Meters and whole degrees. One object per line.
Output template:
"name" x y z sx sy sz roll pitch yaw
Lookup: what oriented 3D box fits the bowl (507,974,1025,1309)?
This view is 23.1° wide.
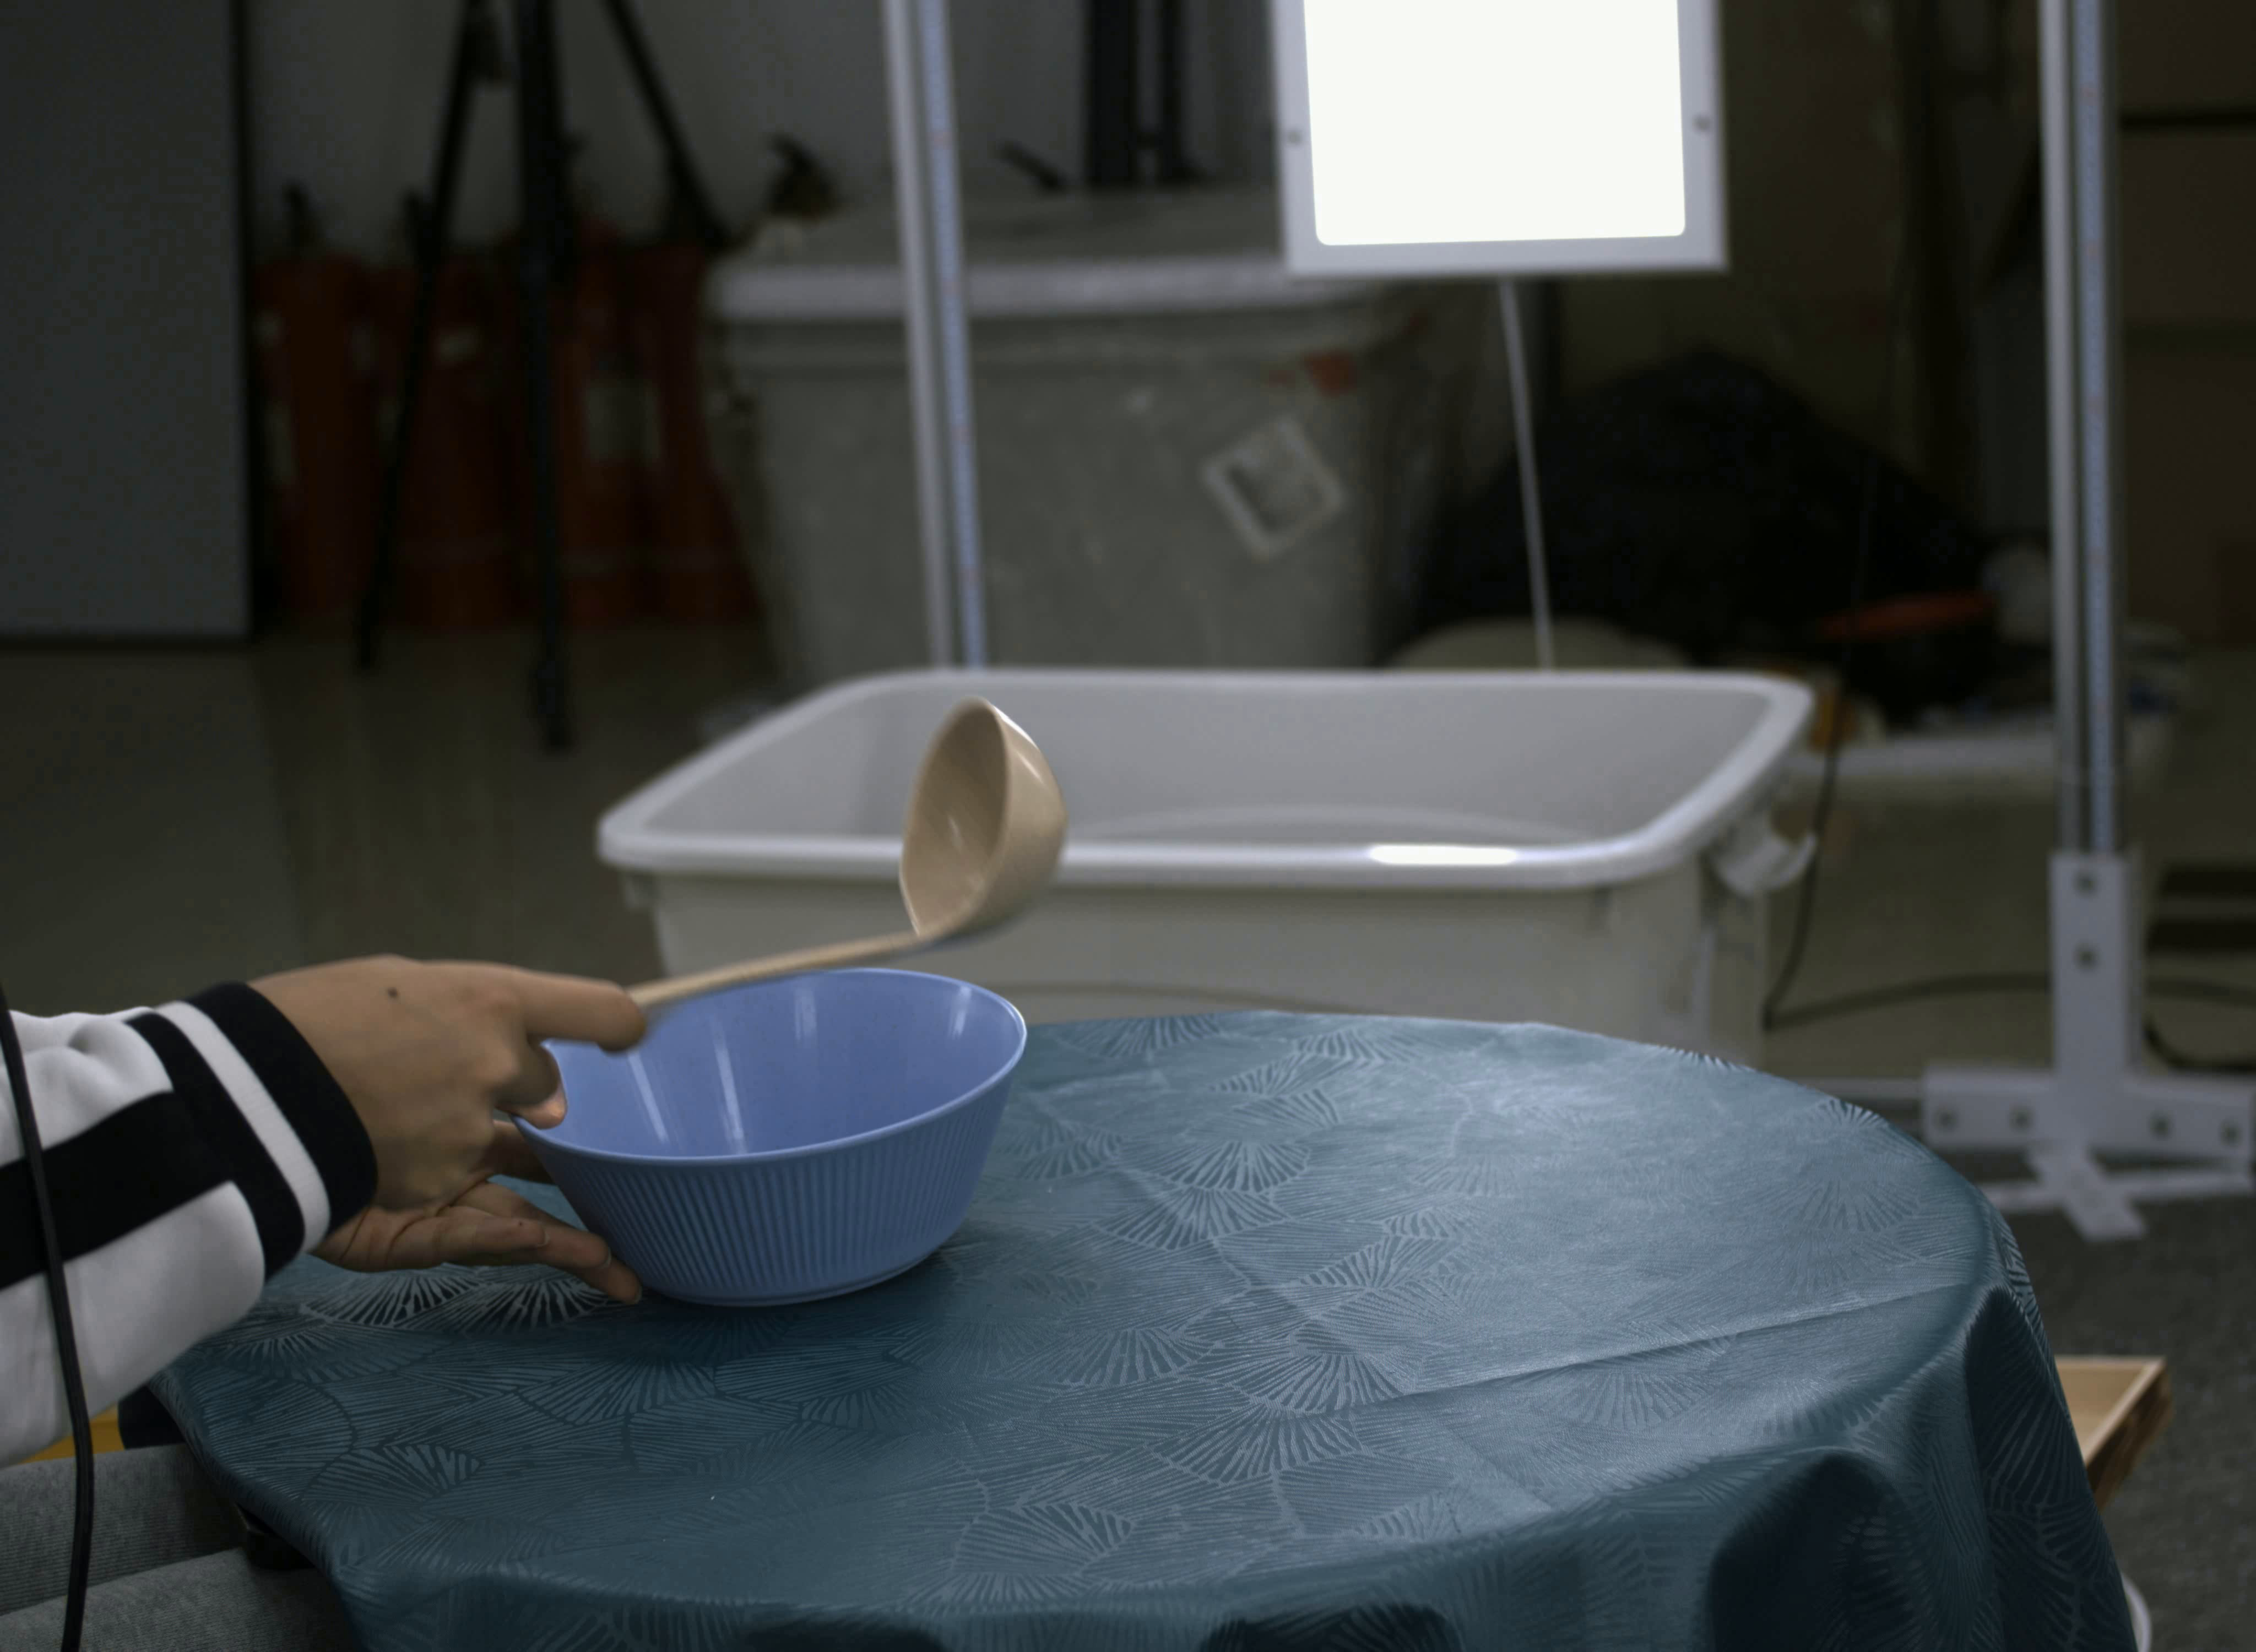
"bowl" -0.118 0.109 1.848 0.176 0.070 0.176 -7 17 1

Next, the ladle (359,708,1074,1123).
"ladle" -0.128 0.023 1.644 0.248 0.073 0.073 -15 -6 -33
